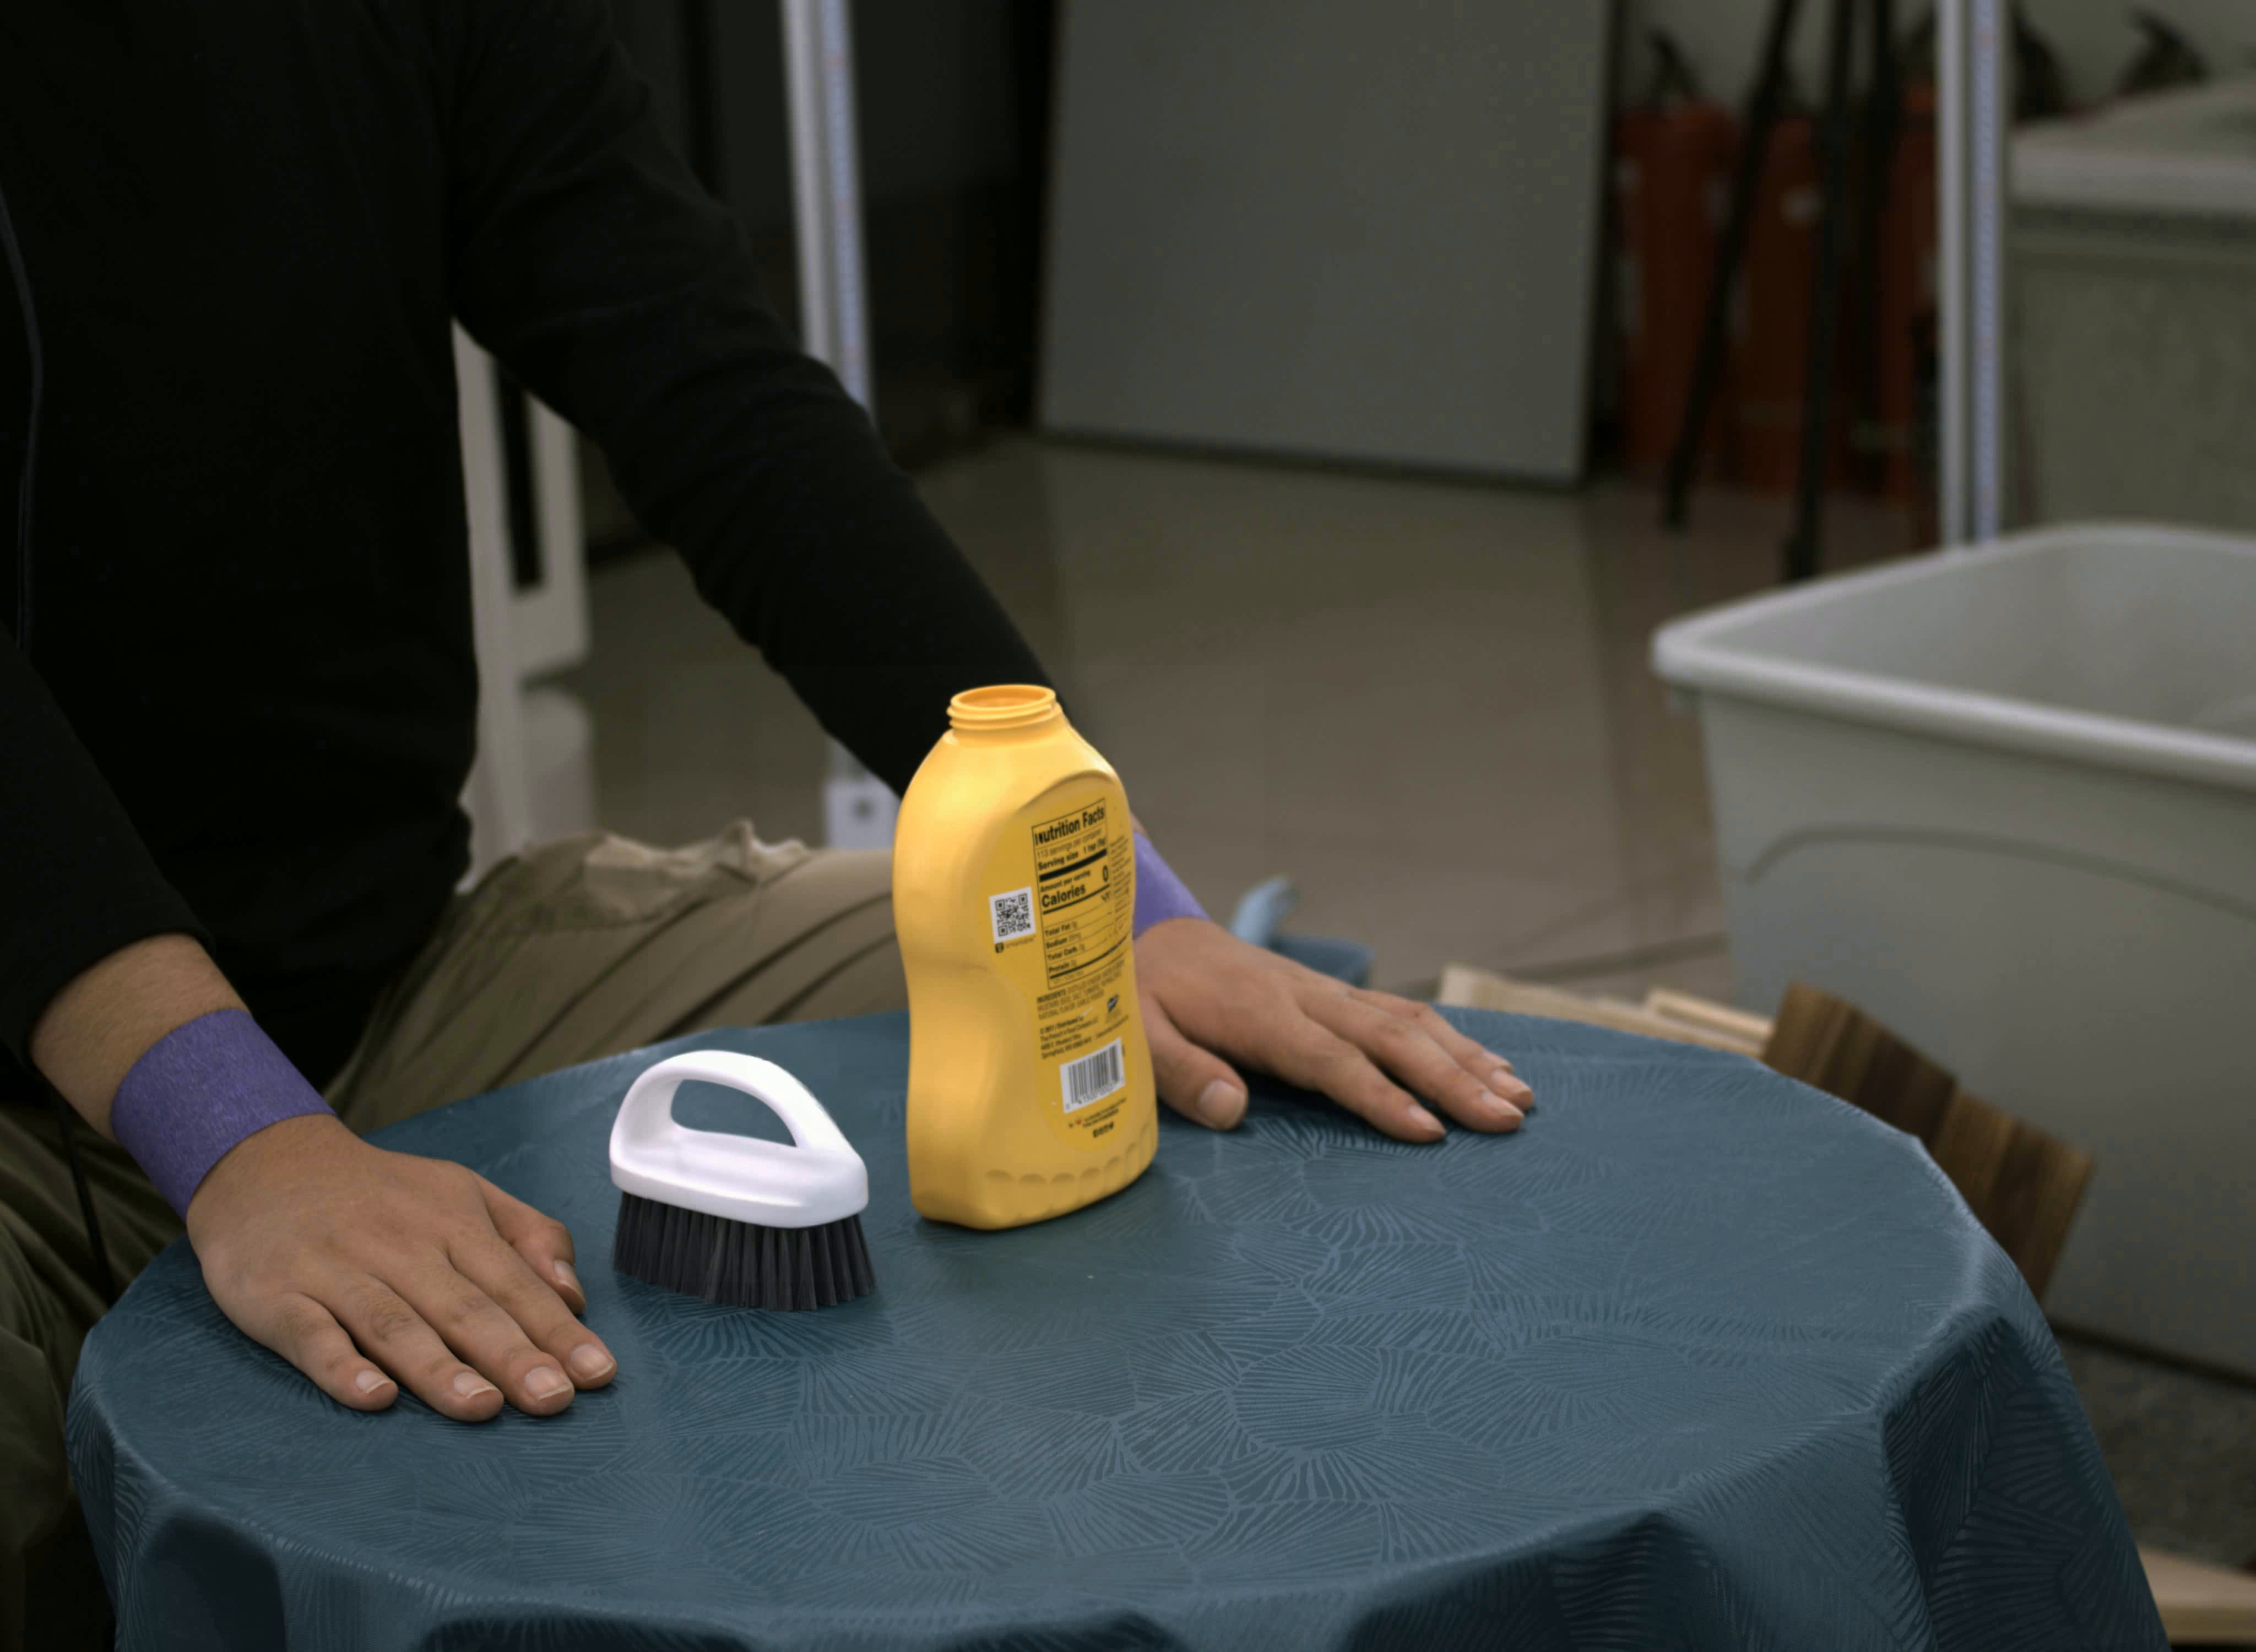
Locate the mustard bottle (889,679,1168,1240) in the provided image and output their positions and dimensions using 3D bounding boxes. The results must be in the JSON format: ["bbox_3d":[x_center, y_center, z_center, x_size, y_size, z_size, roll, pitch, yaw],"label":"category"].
[{"bbox_3d":[-0.035,0.041,1.751,0.060,0.174,0.096,3,16,39],"label":"mustard bottle"}]

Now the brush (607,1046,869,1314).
[{"bbox_3d":[-0.124,0.107,1.704,0.100,0.073,0.049,11,18,44],"label":"brush"}]
